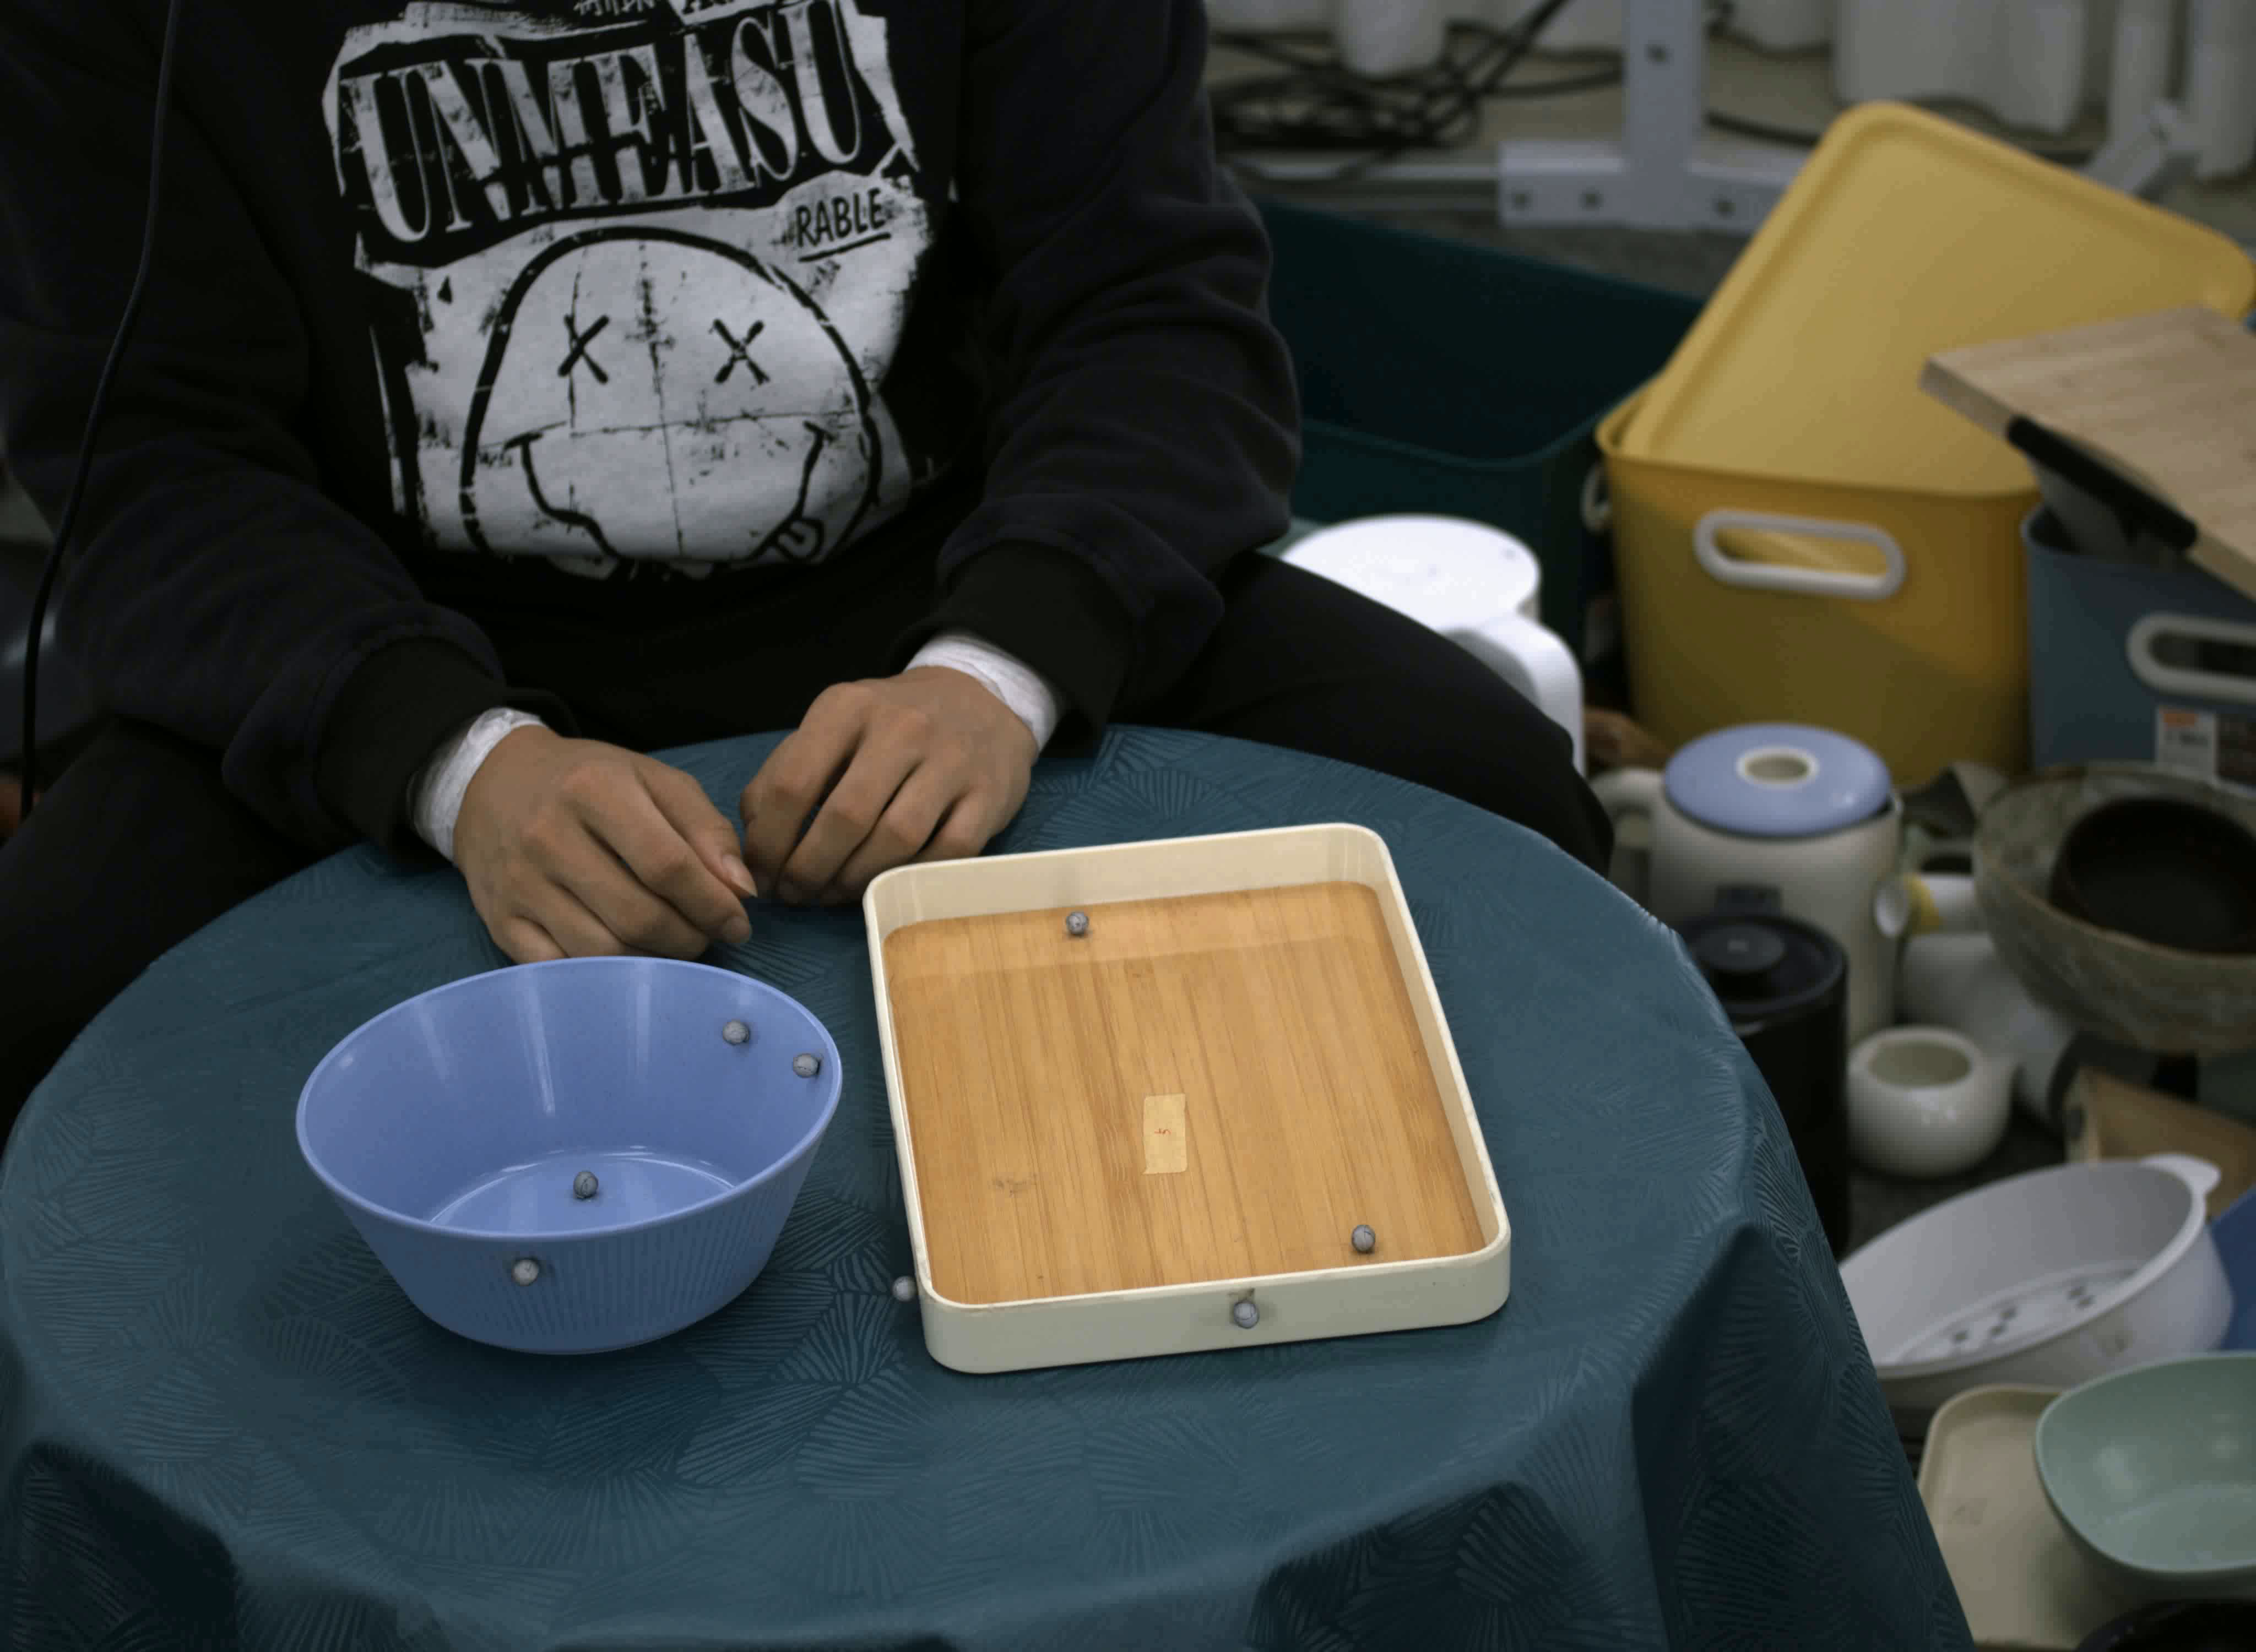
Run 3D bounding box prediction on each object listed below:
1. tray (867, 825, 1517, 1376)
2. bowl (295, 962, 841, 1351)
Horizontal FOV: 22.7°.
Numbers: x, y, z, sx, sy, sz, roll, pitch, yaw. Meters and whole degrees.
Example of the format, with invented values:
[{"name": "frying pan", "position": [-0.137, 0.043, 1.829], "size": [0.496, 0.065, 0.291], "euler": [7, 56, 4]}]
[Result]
[{"name": "tray", "position": [0.016, 0.087, 1.898], "size": [0.191, 0.027, 0.304], "euler": [-6, 28, -4]}, {"name": "bowl", "position": [-0.179, 0.113, 1.818], "size": [0.175, 0.069, 0.179], "euler": [-1, 27, 1]}]
